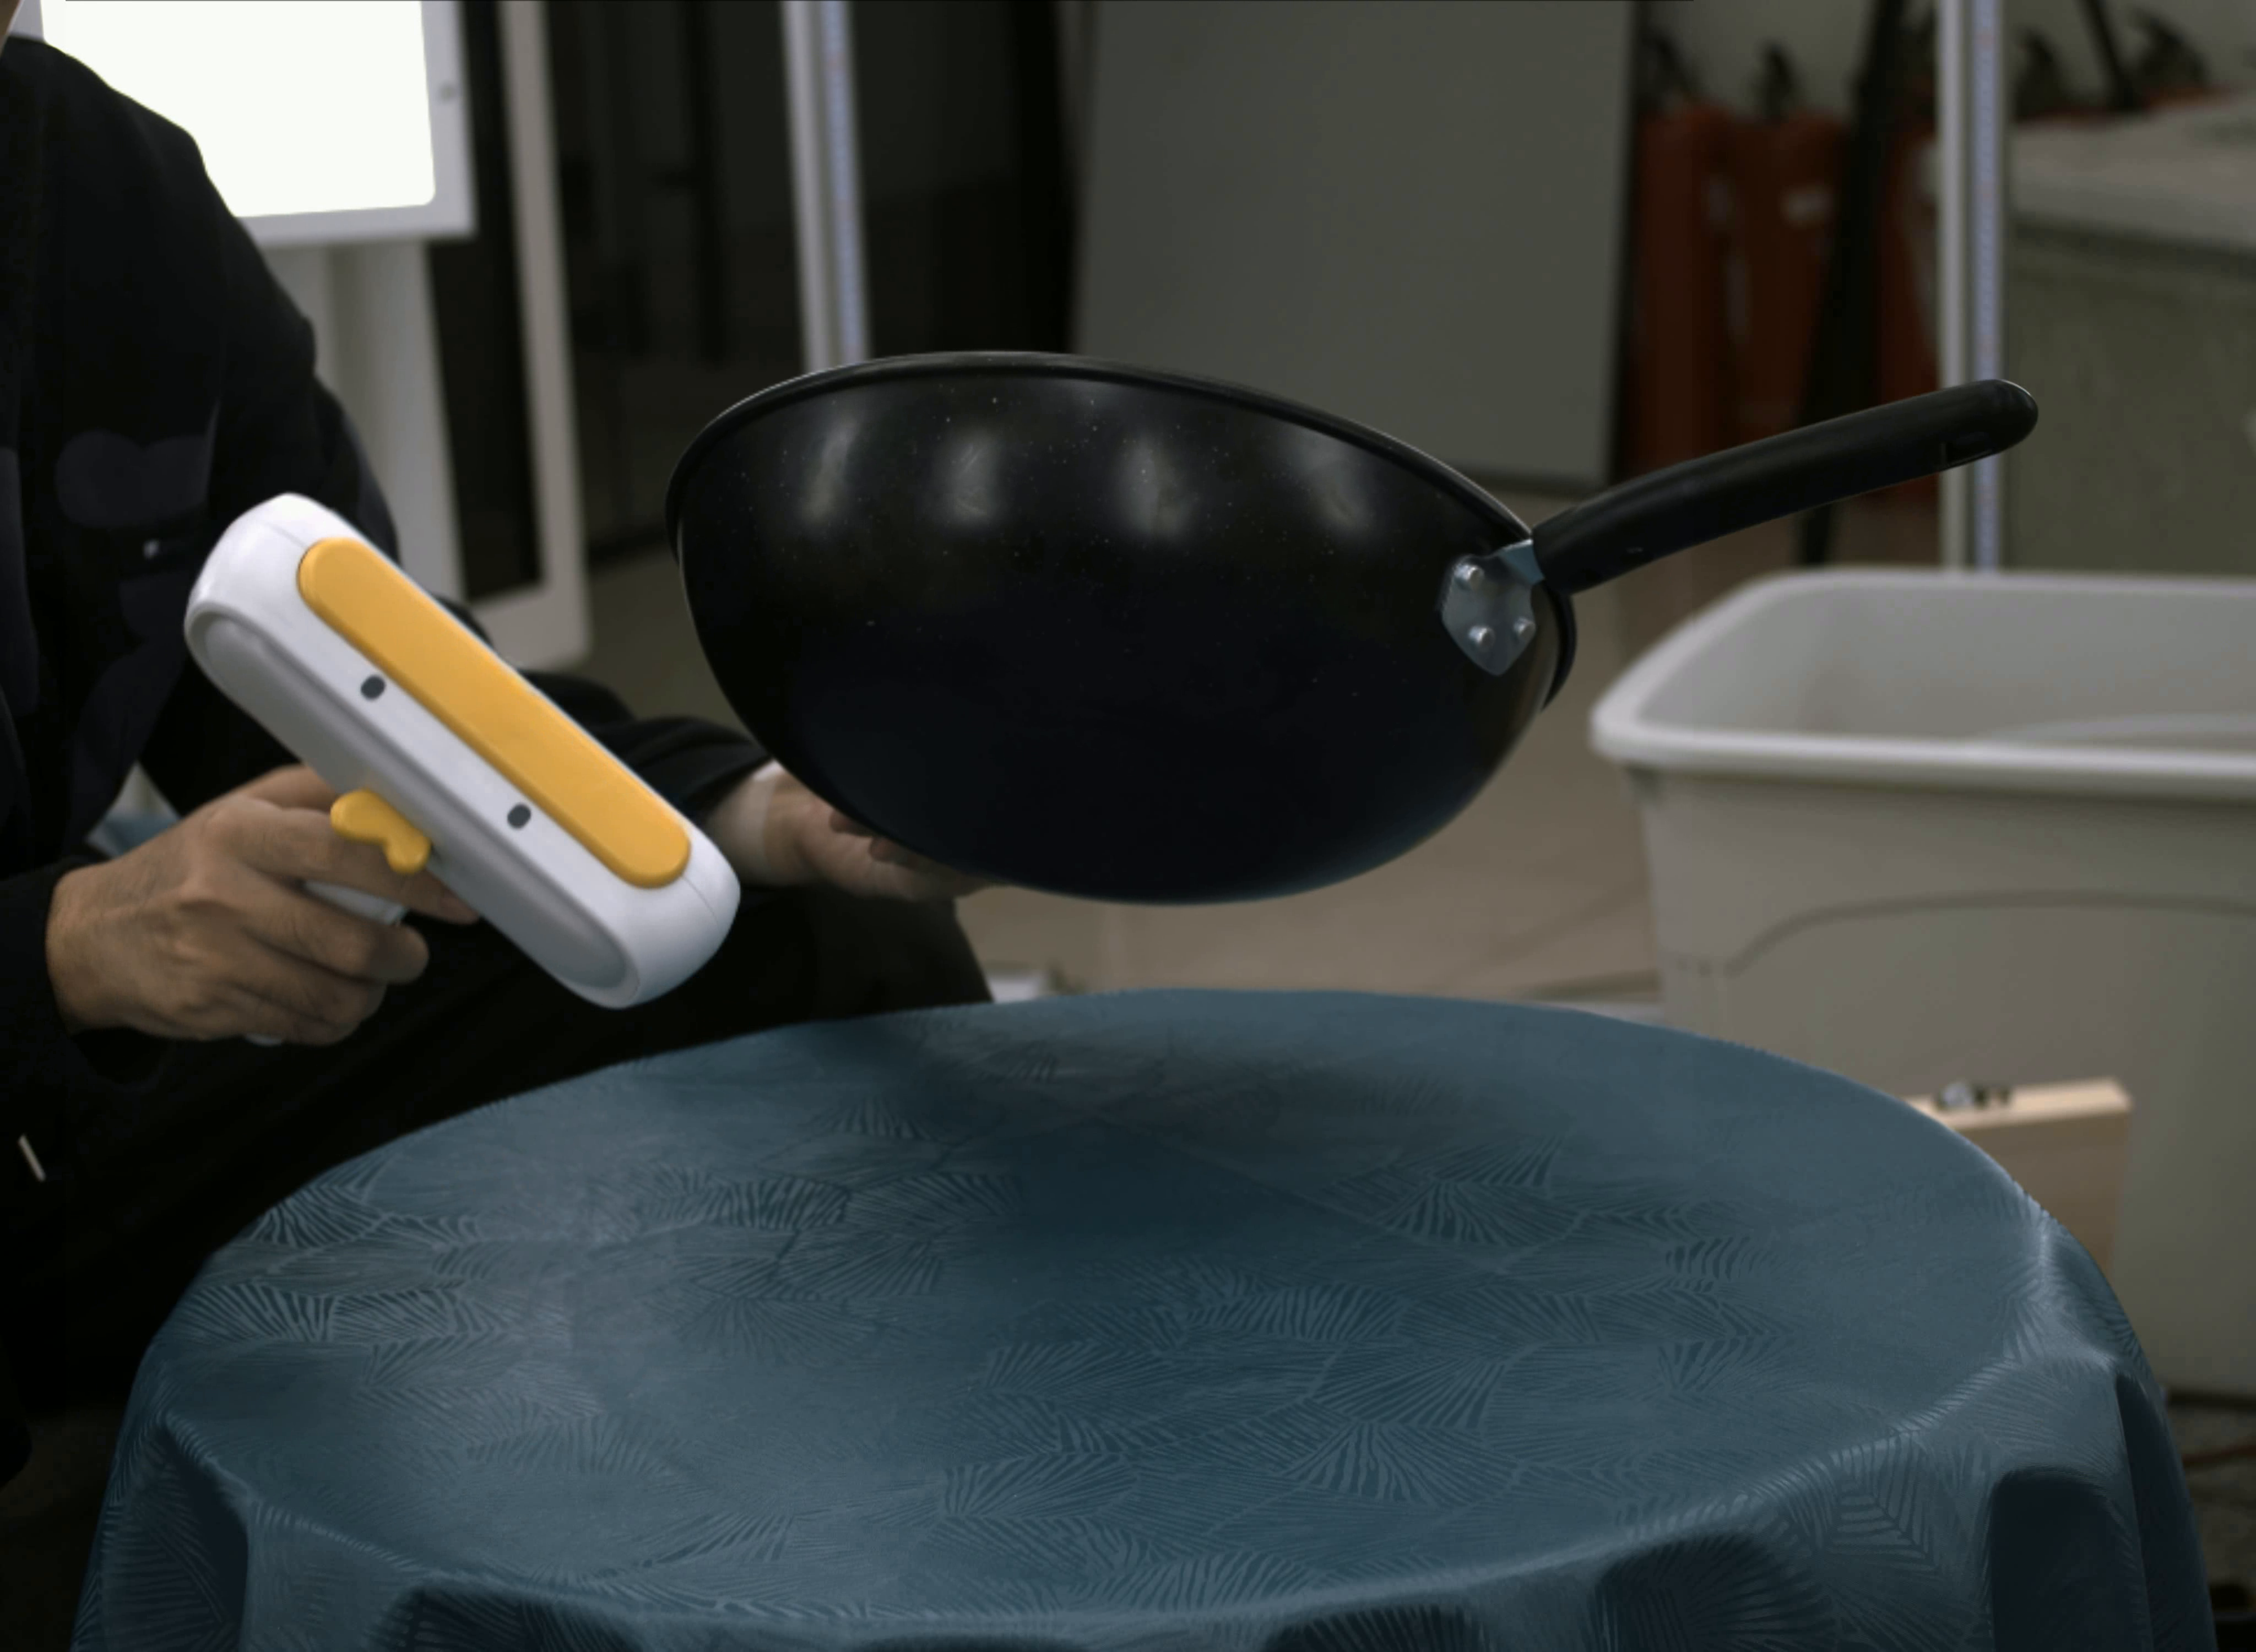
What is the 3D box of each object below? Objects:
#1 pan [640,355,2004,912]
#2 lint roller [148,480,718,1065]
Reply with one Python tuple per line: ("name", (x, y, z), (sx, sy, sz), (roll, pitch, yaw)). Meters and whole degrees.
("pan", (0.057, -0.063, 1.741), (0.479, 0.113, 0.306), (-6, -27, 31))
("lint roller", (-0.231, 0.007, 1.654), (0.074, 0.192, 0.194), (-56, 3, -37))
